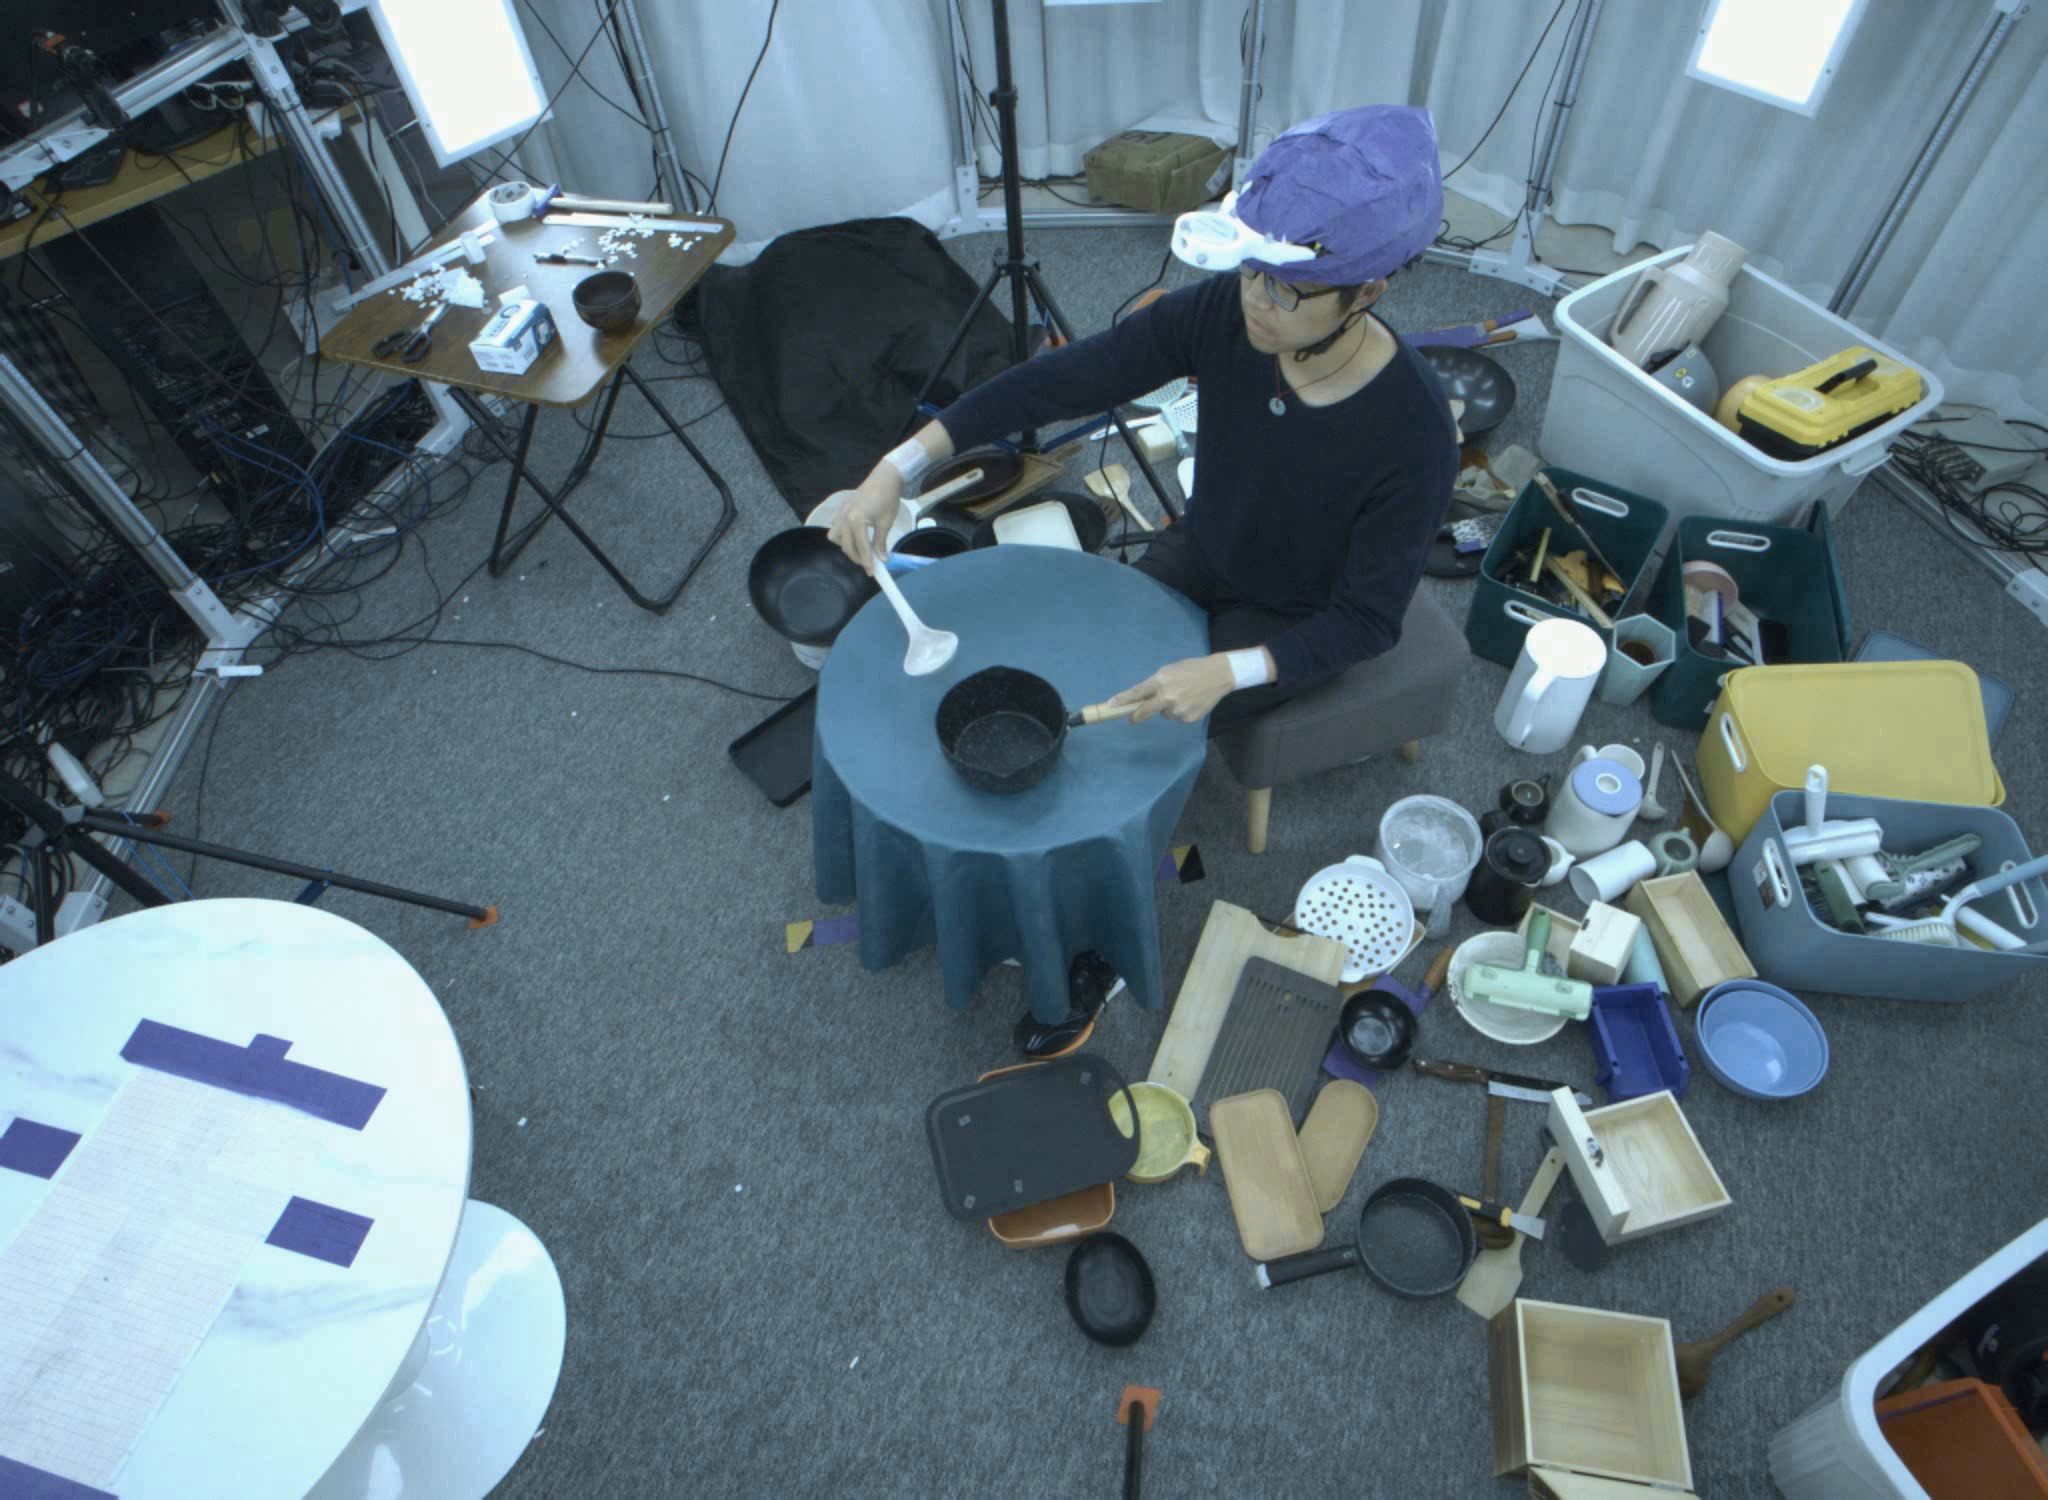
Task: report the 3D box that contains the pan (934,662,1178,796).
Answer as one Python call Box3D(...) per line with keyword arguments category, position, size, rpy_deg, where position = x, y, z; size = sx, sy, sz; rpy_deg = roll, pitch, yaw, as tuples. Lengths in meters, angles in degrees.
Box3D(category="pan", position=(0.047, -0.036, 1.744), size=(0.343, 0.109, 0.205), rpy_deg=(-7, 54, -1))

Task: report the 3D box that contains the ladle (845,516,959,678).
Box3D(category="ladle", position=(-0.191, -0.228, 1.764), size=(0.089, 0.069, 0.275), rpy_deg=(-32, 92, 6))
